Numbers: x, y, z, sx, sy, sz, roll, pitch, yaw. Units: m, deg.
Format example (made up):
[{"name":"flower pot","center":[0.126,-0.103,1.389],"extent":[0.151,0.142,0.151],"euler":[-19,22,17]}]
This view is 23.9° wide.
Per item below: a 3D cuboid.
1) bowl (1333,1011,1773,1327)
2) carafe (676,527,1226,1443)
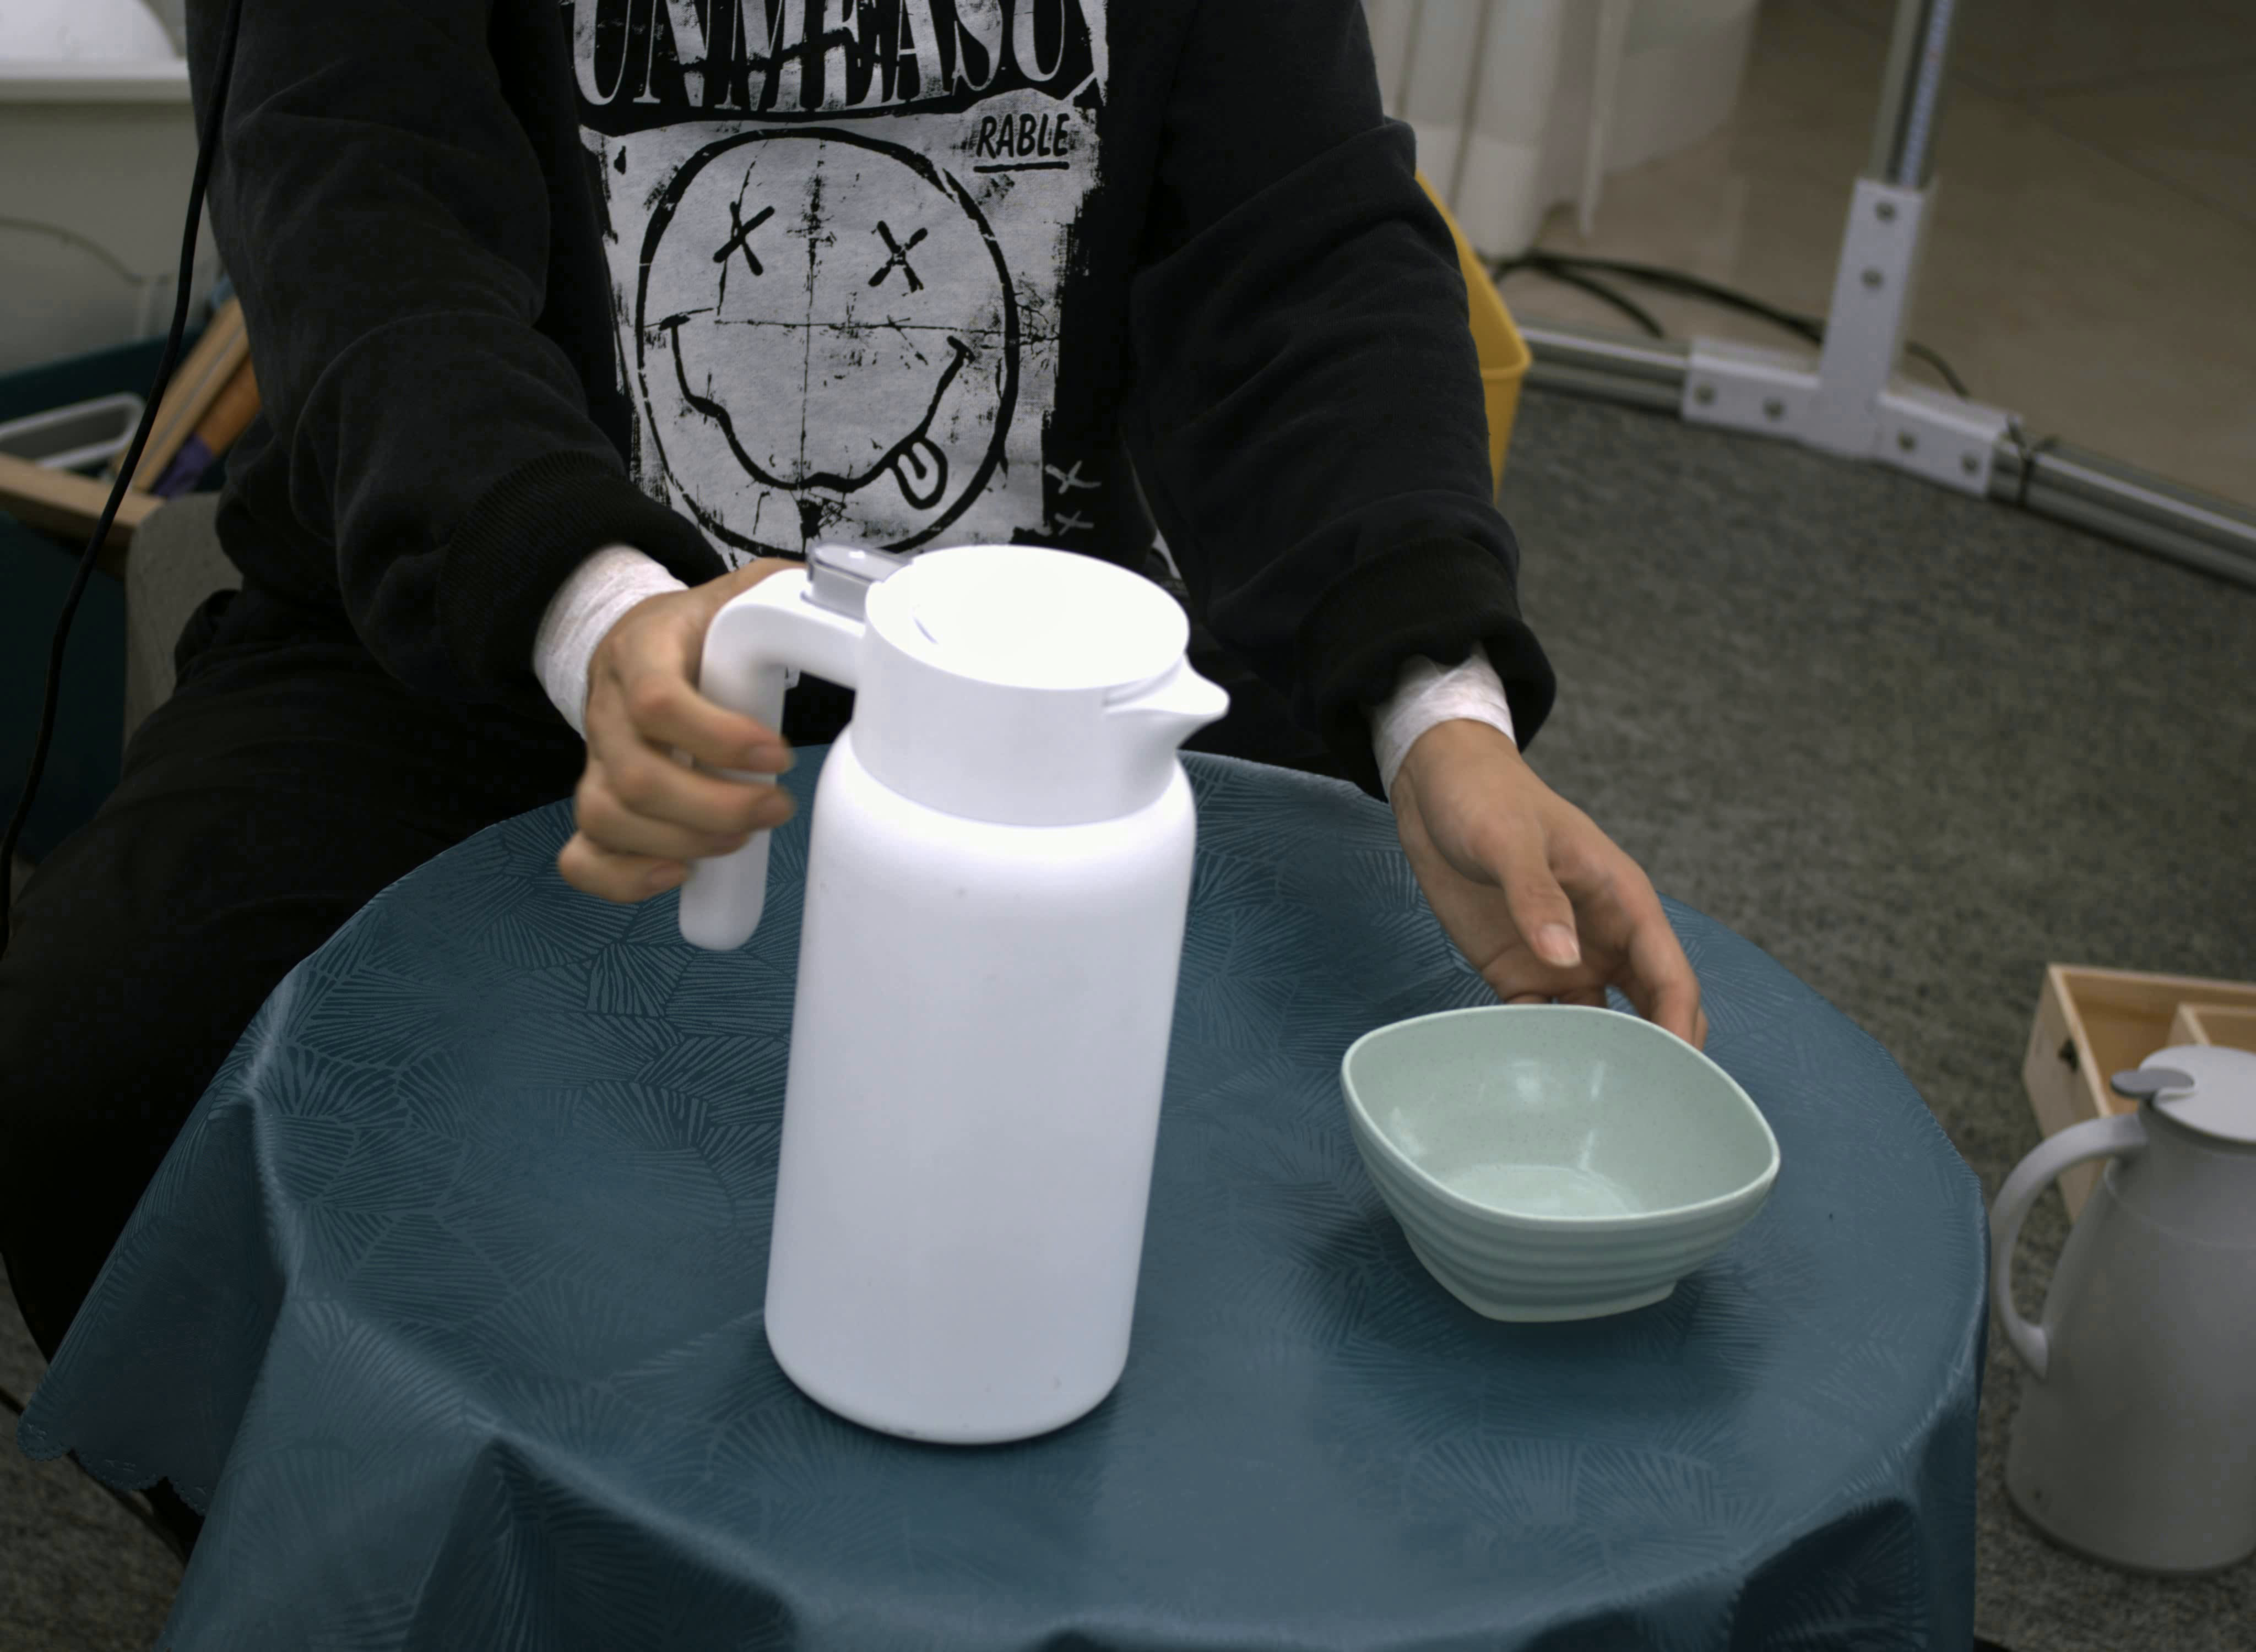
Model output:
[{"name":"bowl","center":[0.138,0.121,1.784],"extent":[0.151,0.058,0.152],"euler":[5,26,-3]},{"name":"carafe","center":[-0.061,0.047,1.649],"extent":[0.173,0.268,0.124],"euler":[18,31,22]}]
